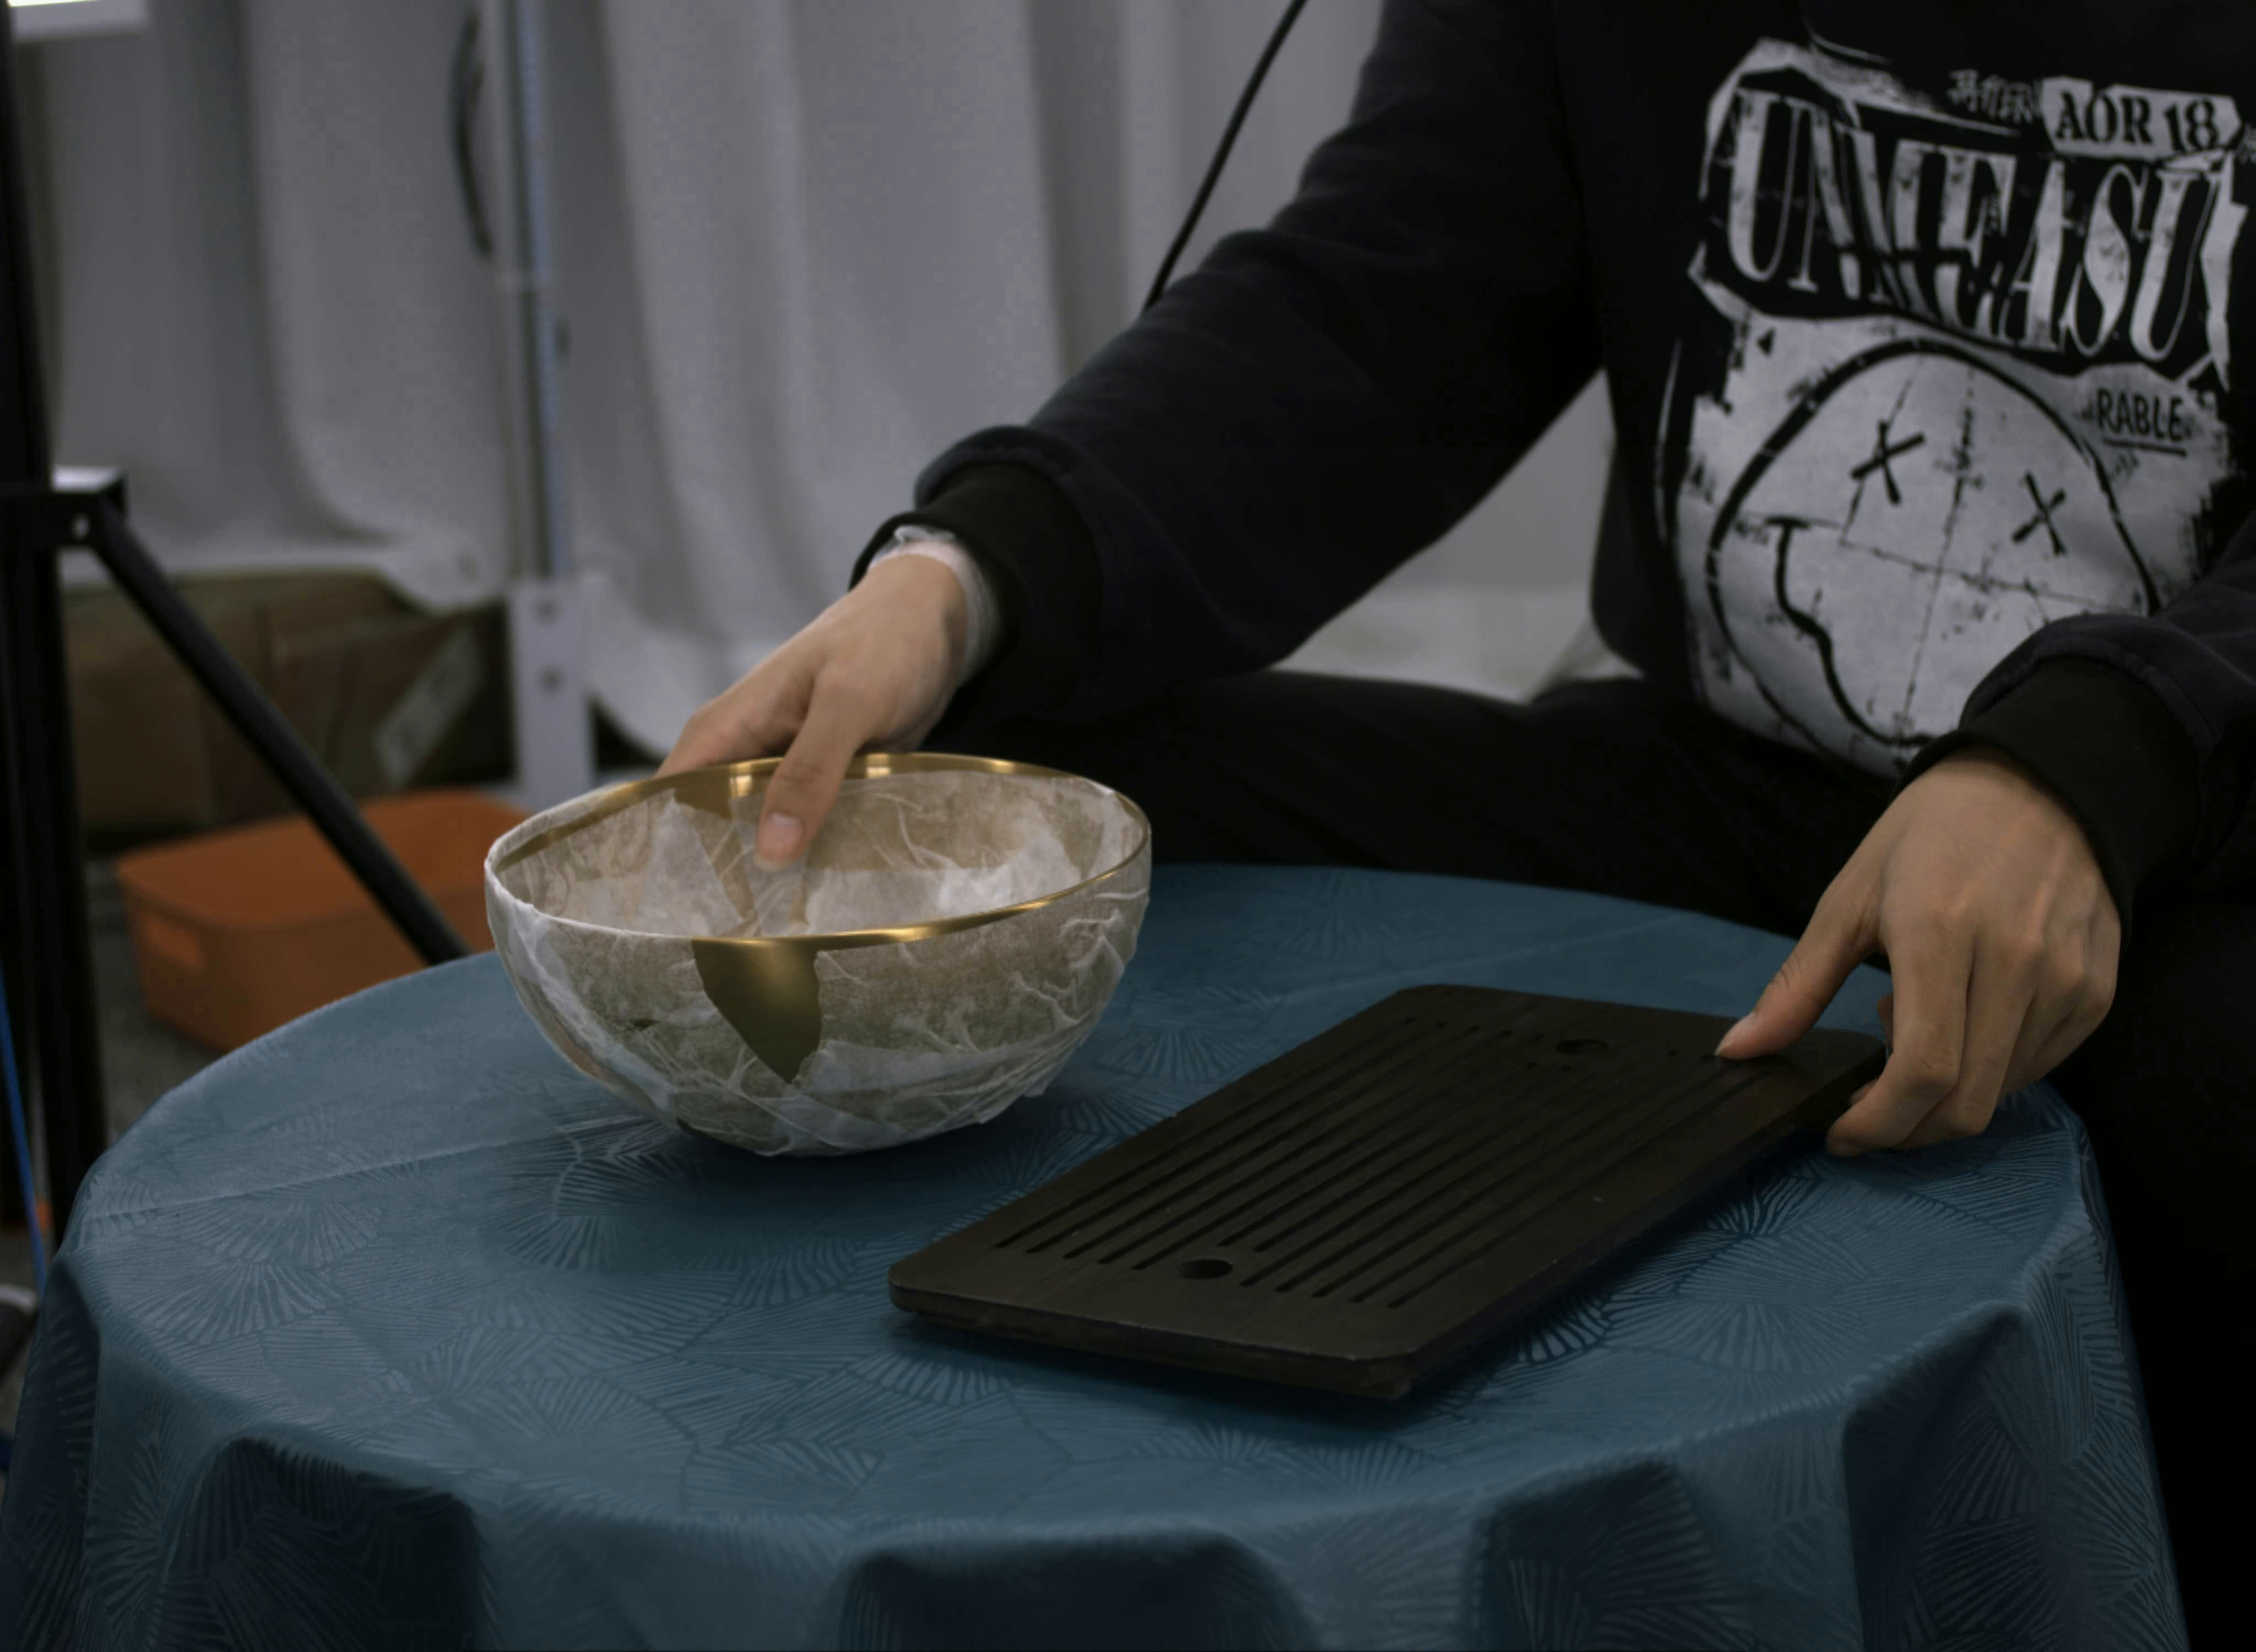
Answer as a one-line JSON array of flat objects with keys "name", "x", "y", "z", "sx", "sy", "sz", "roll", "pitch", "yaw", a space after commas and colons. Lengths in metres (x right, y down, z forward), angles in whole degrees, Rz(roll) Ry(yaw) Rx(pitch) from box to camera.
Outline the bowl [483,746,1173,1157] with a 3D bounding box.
[{"name": "bowl", "x": -0.087, "y": 0.047, "z": 1.621, "sx": 0.213, "sy": 0.094, "sz": 0.216, "roll": -3, "pitch": 15, "yaw": -1}]

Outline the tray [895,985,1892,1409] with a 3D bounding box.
[{"name": "tray", "x": 0.083, "y": 0.103, "z": 1.523, "sx": 0.173, "sy": 0.018, "sz": 0.300, "roll": 6, "pitch": 18, "yaw": 34}]
